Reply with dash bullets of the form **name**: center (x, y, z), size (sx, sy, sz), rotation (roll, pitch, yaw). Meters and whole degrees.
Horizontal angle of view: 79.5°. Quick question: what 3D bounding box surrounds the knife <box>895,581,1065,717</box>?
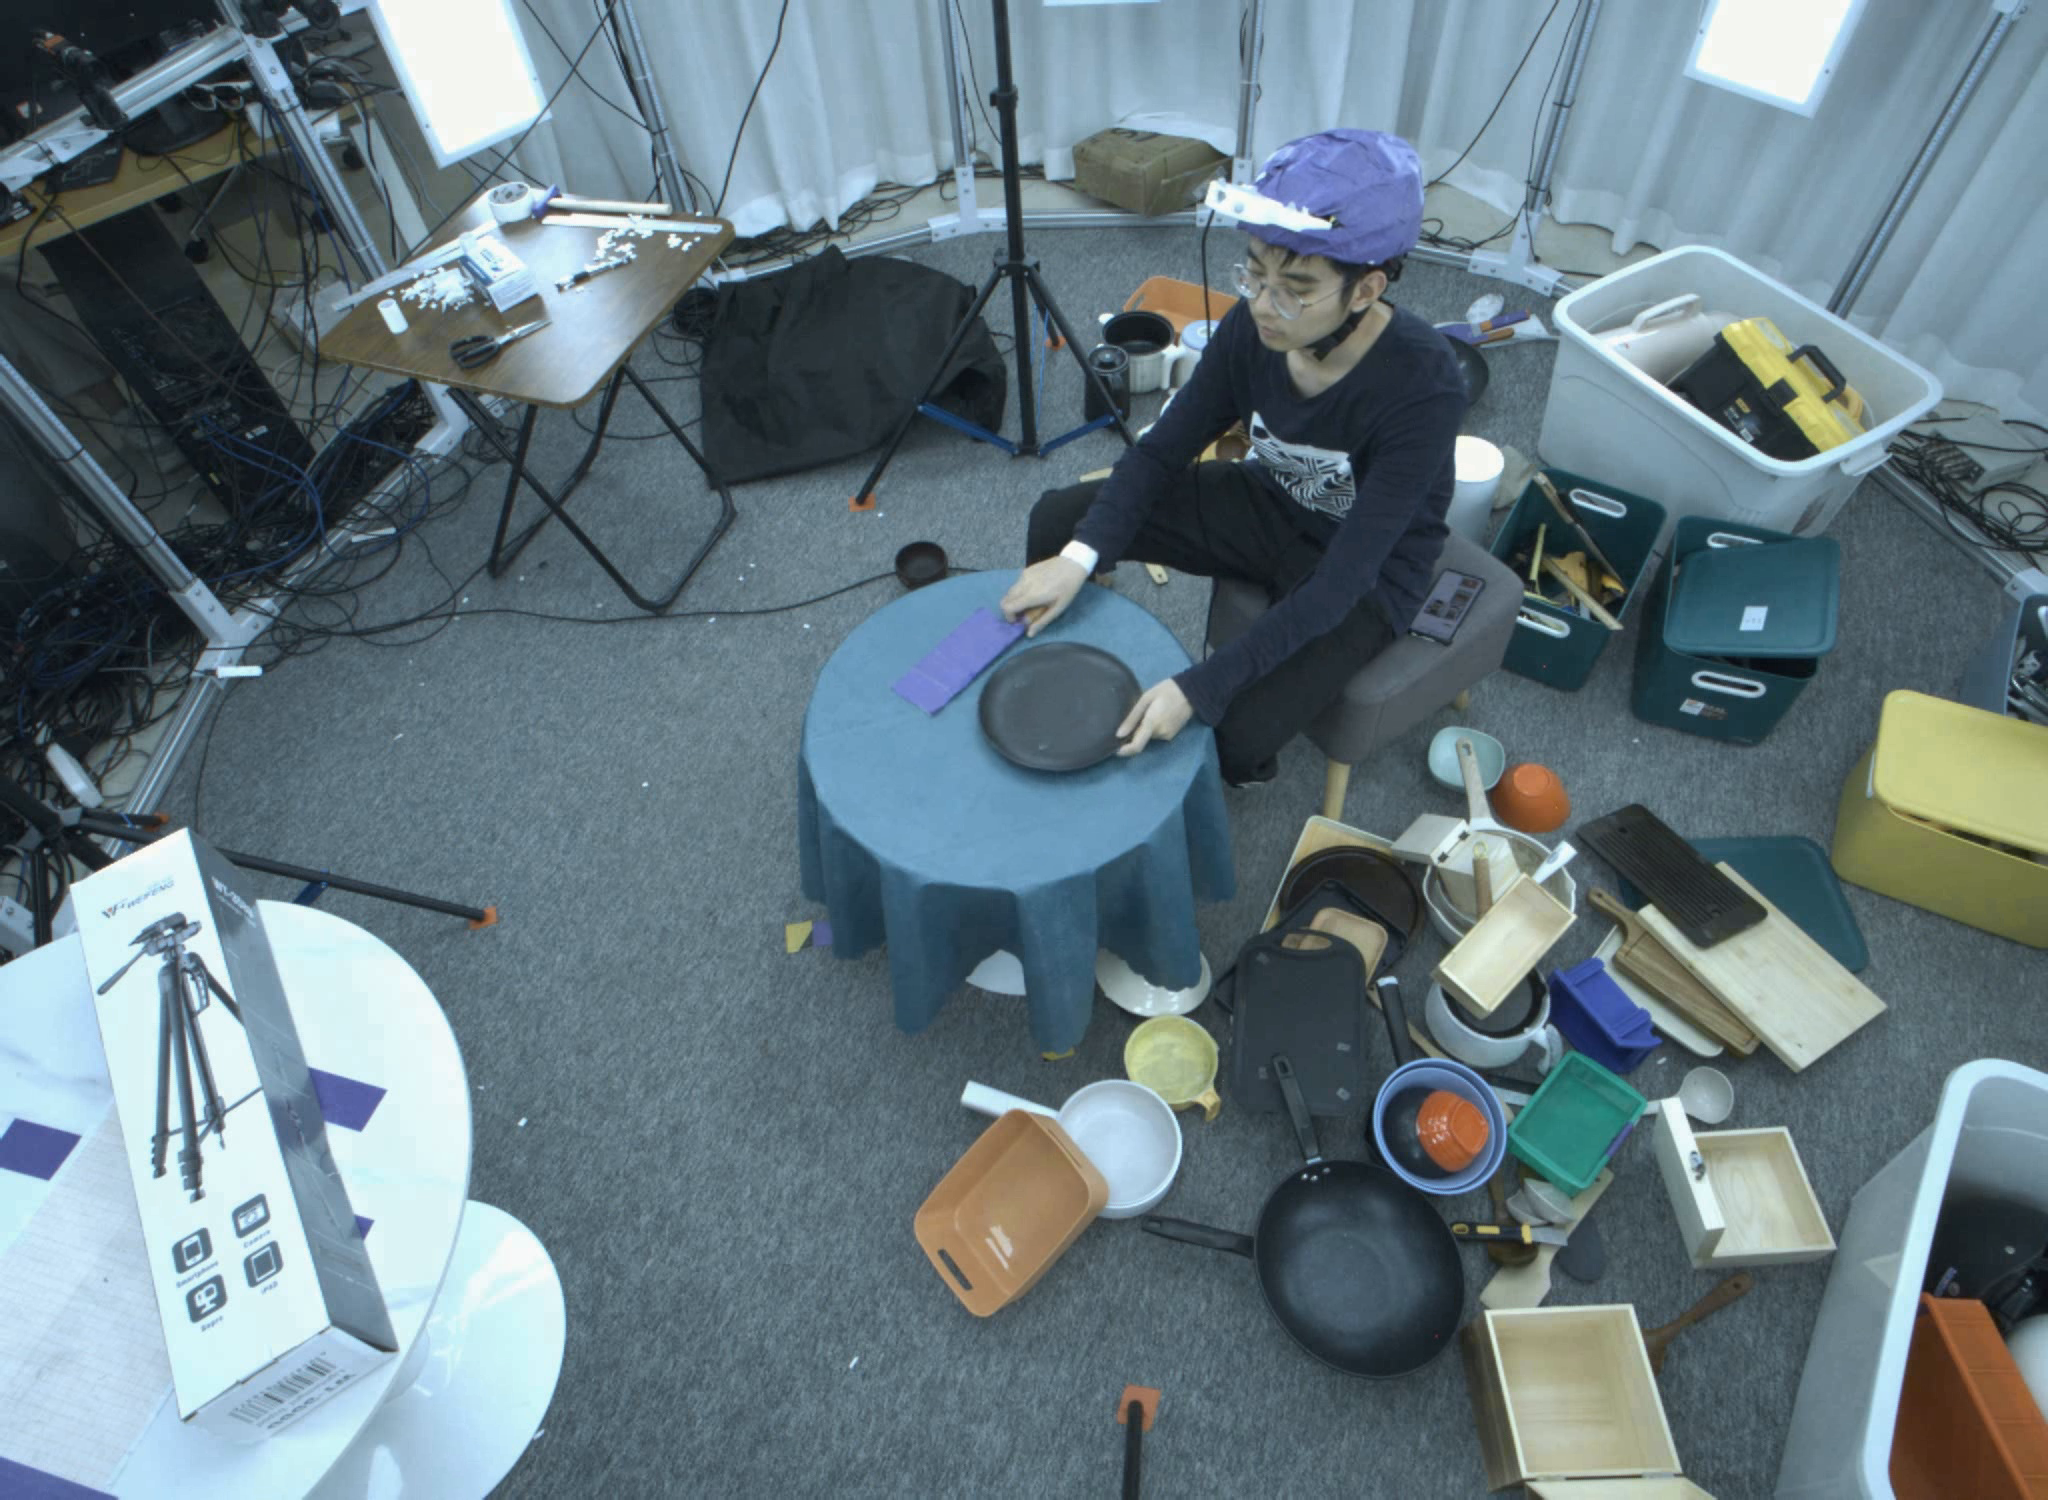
- **knife**: center (-0.069, -0.175, 1.905), size (0.102, 0.032, 0.317), rotation (34, 62, 23)

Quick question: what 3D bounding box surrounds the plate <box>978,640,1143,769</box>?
- **plate**: center (0.053, -0.065, 1.822), size (0.244, 0.024, 0.242), rotation (-1, 53, 3)
